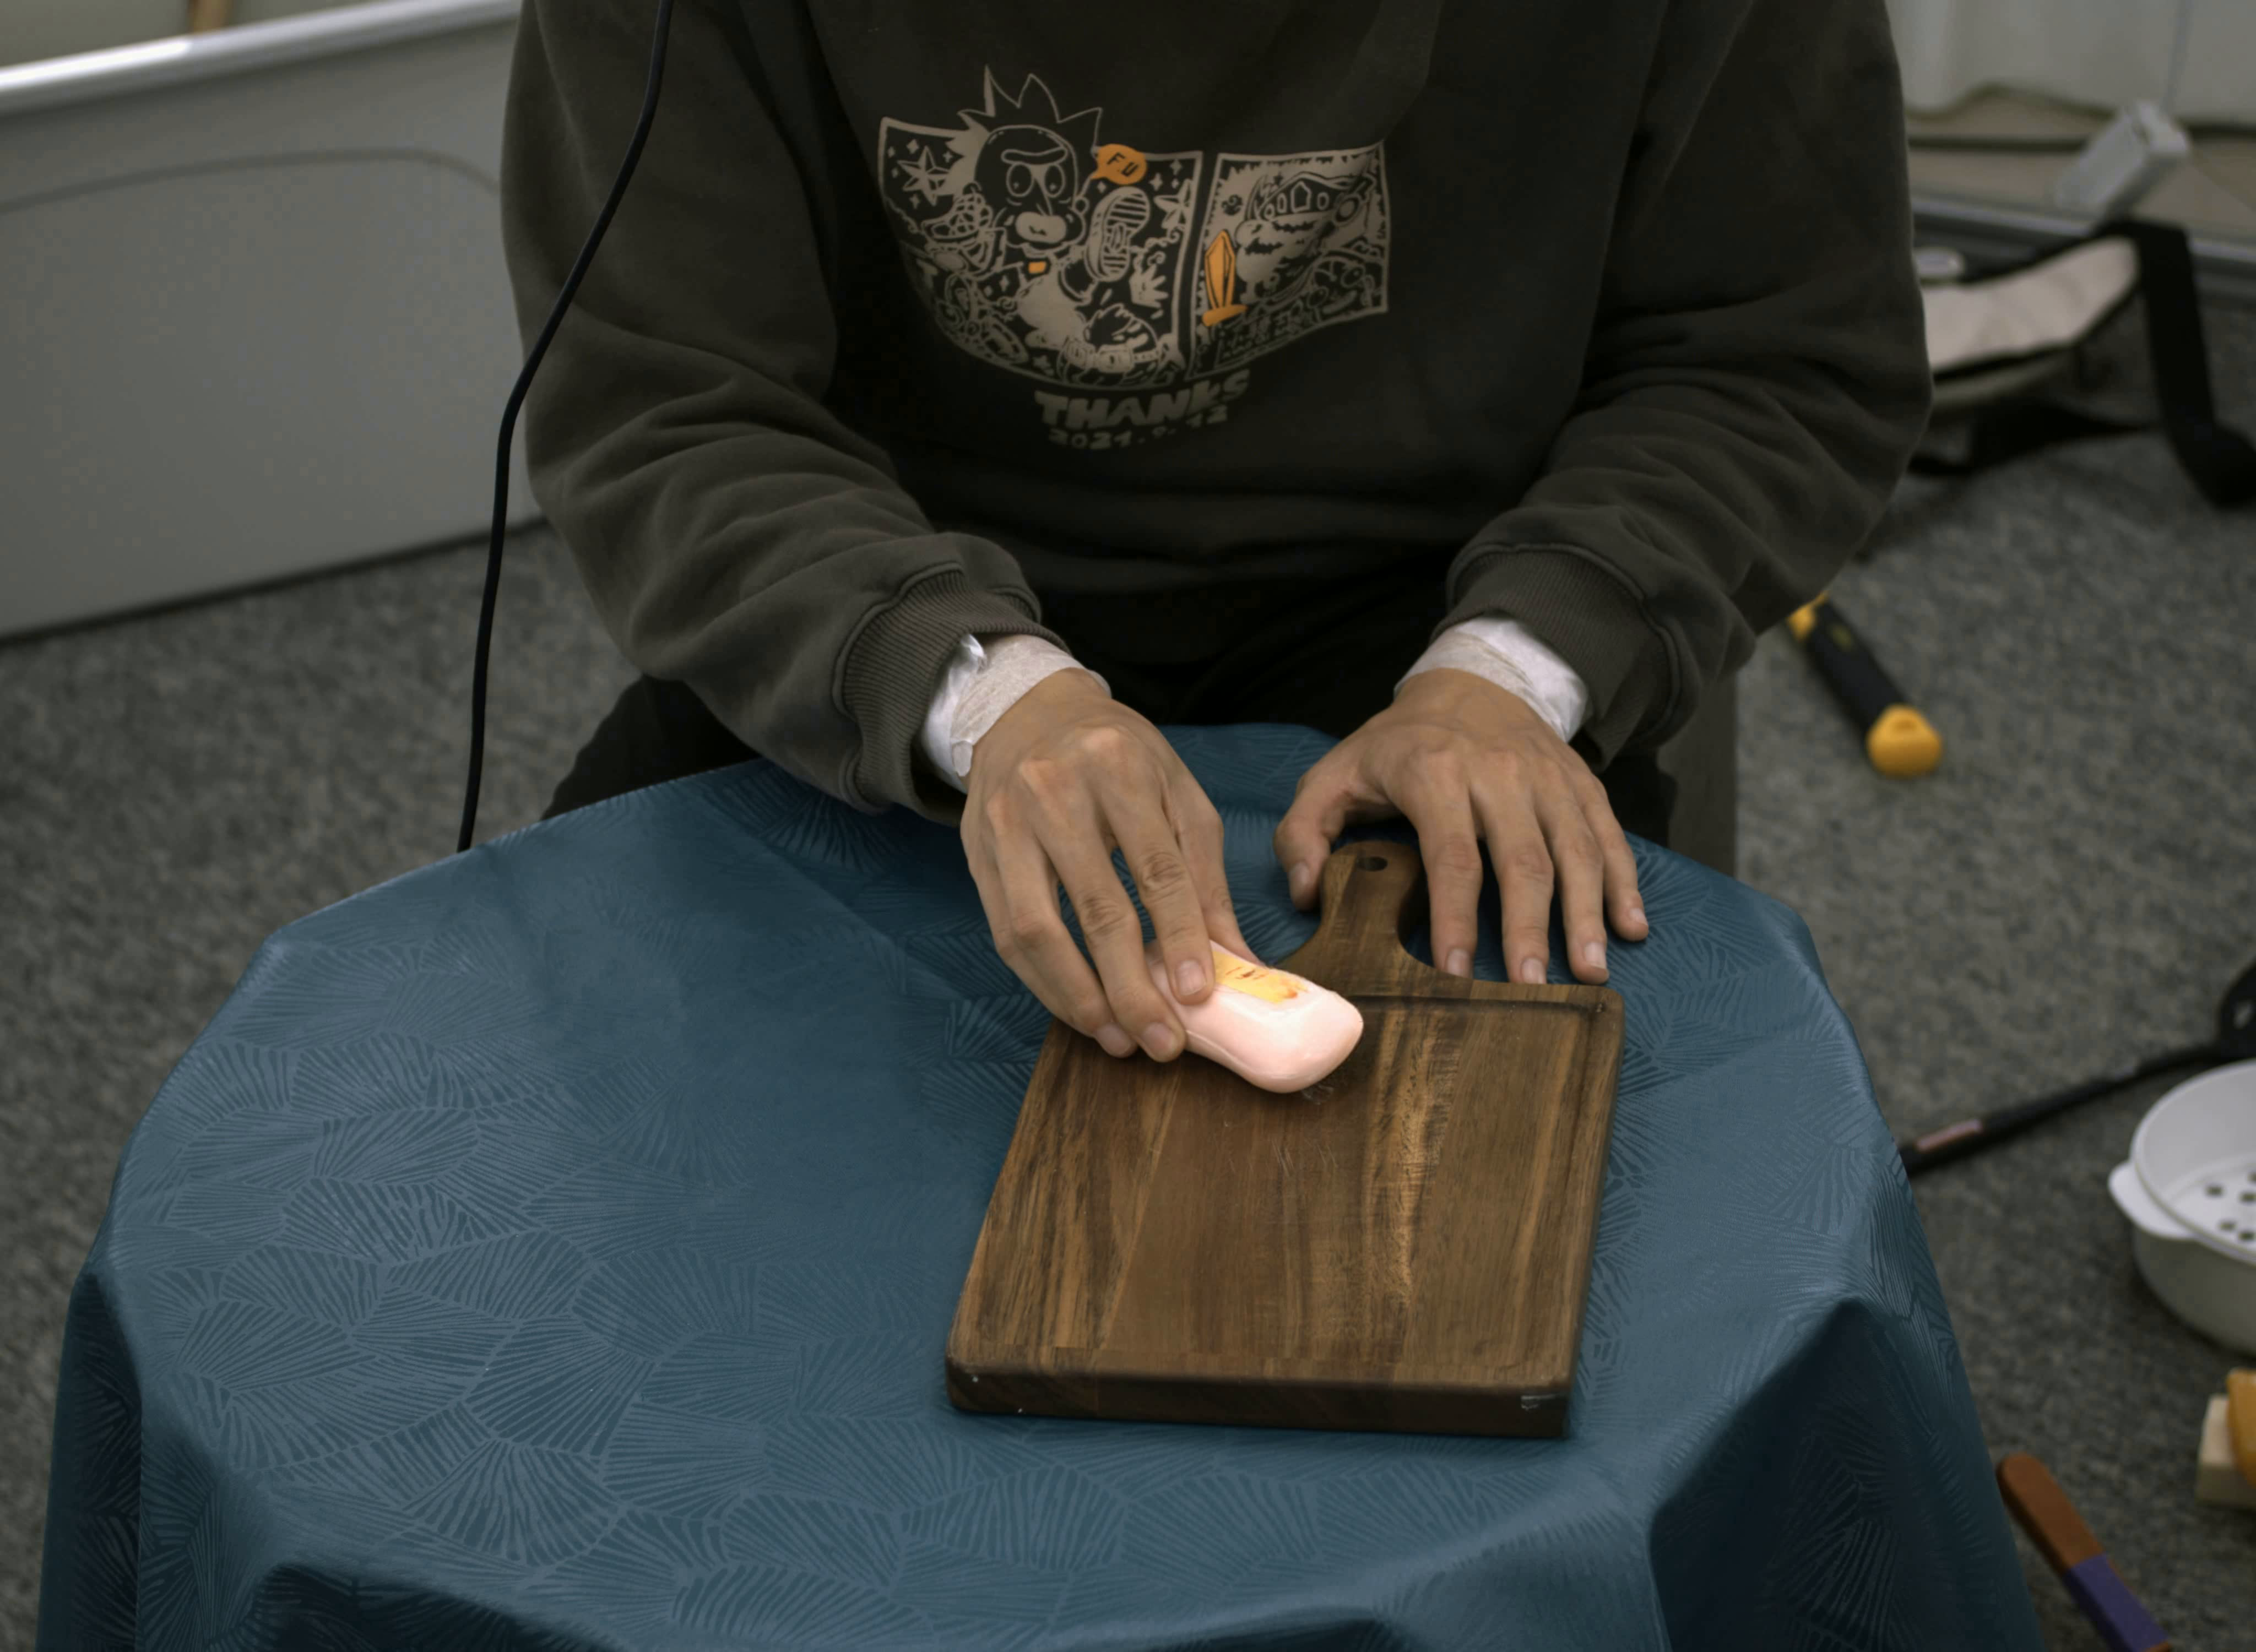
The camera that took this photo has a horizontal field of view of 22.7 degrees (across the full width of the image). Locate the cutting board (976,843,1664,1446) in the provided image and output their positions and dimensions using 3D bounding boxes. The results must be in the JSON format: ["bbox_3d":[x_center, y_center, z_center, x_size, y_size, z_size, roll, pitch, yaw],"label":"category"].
[{"bbox_3d":[0.076,0.097,1.877,0.200,0.023,0.358,2,28,10],"label":"cutting board"}]

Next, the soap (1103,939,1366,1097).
[{"bbox_3d":[0.036,0.065,1.902,0.094,0.030,0.051,21,36,38],"label":"soap"}]
